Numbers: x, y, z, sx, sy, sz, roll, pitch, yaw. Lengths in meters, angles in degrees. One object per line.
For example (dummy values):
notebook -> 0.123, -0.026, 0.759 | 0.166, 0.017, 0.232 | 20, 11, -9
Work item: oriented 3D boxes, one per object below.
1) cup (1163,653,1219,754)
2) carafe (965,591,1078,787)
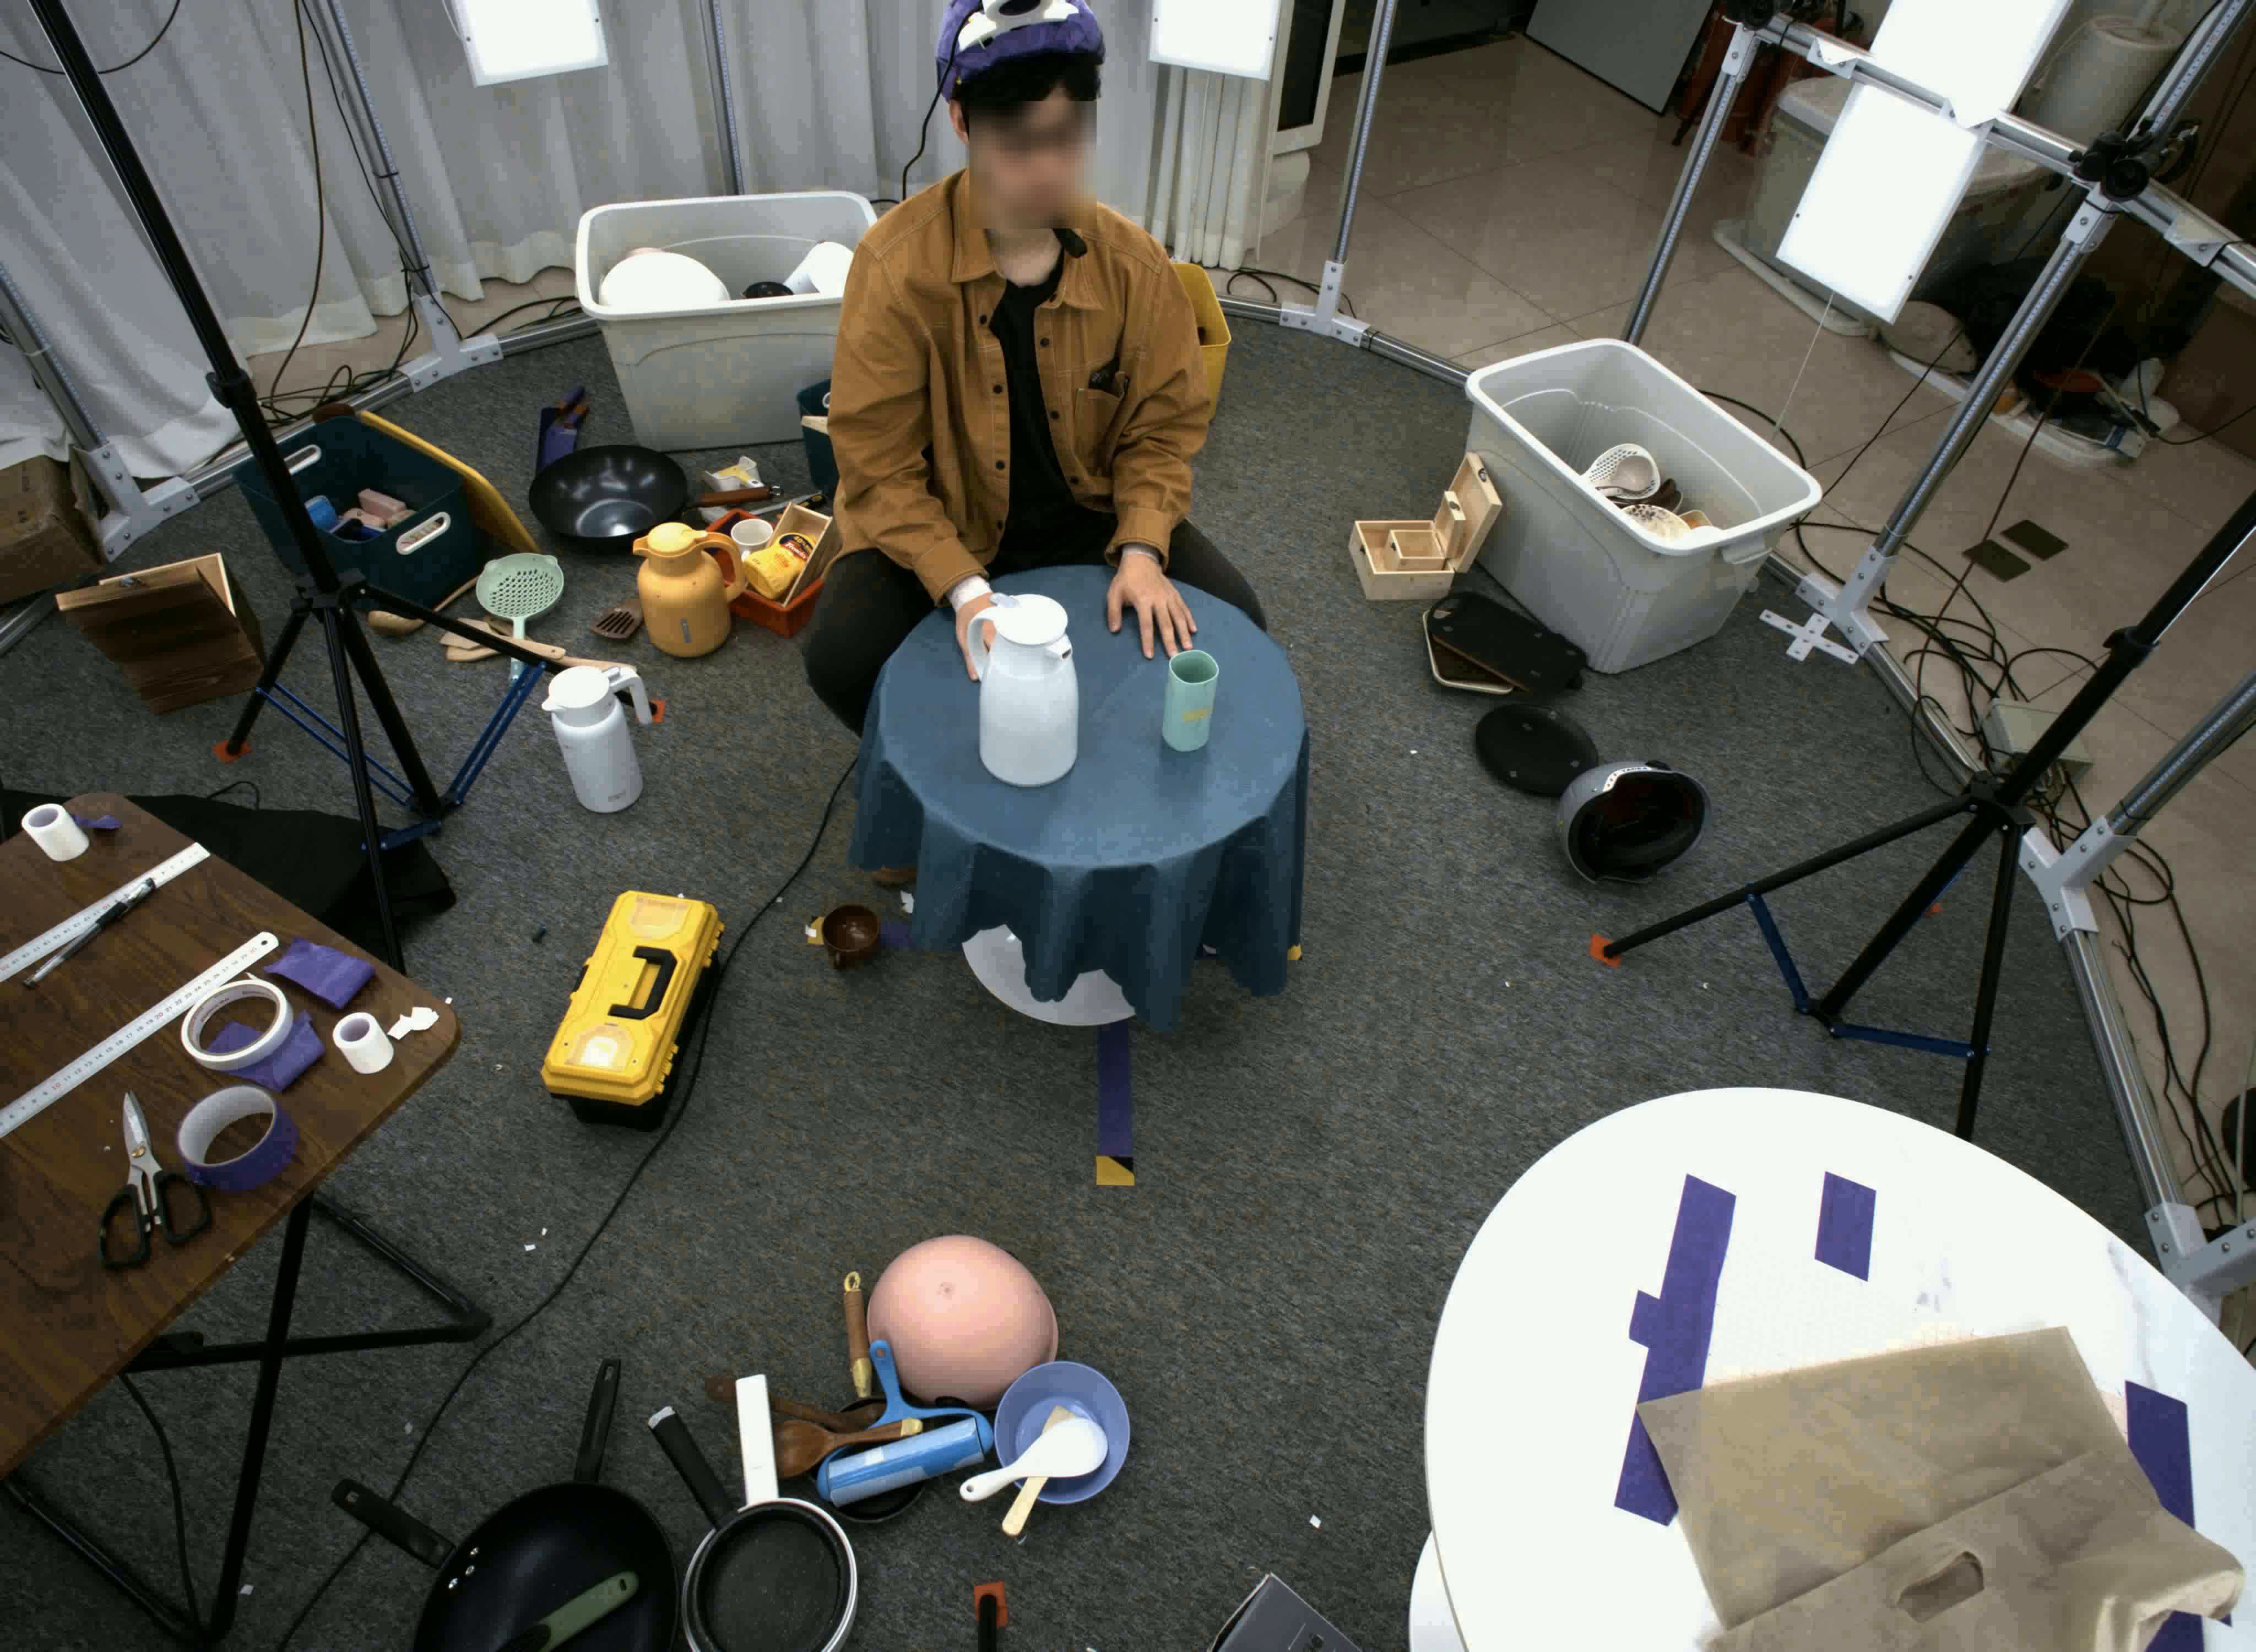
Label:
cup -> 0.083, -0.166, 1.738 | 0.066, 0.129, 0.068 | 2, 49, -3
carafe -> -0.144, -0.189, 1.665 | 0.170, 0.242, 0.134 | 34, 55, 24
